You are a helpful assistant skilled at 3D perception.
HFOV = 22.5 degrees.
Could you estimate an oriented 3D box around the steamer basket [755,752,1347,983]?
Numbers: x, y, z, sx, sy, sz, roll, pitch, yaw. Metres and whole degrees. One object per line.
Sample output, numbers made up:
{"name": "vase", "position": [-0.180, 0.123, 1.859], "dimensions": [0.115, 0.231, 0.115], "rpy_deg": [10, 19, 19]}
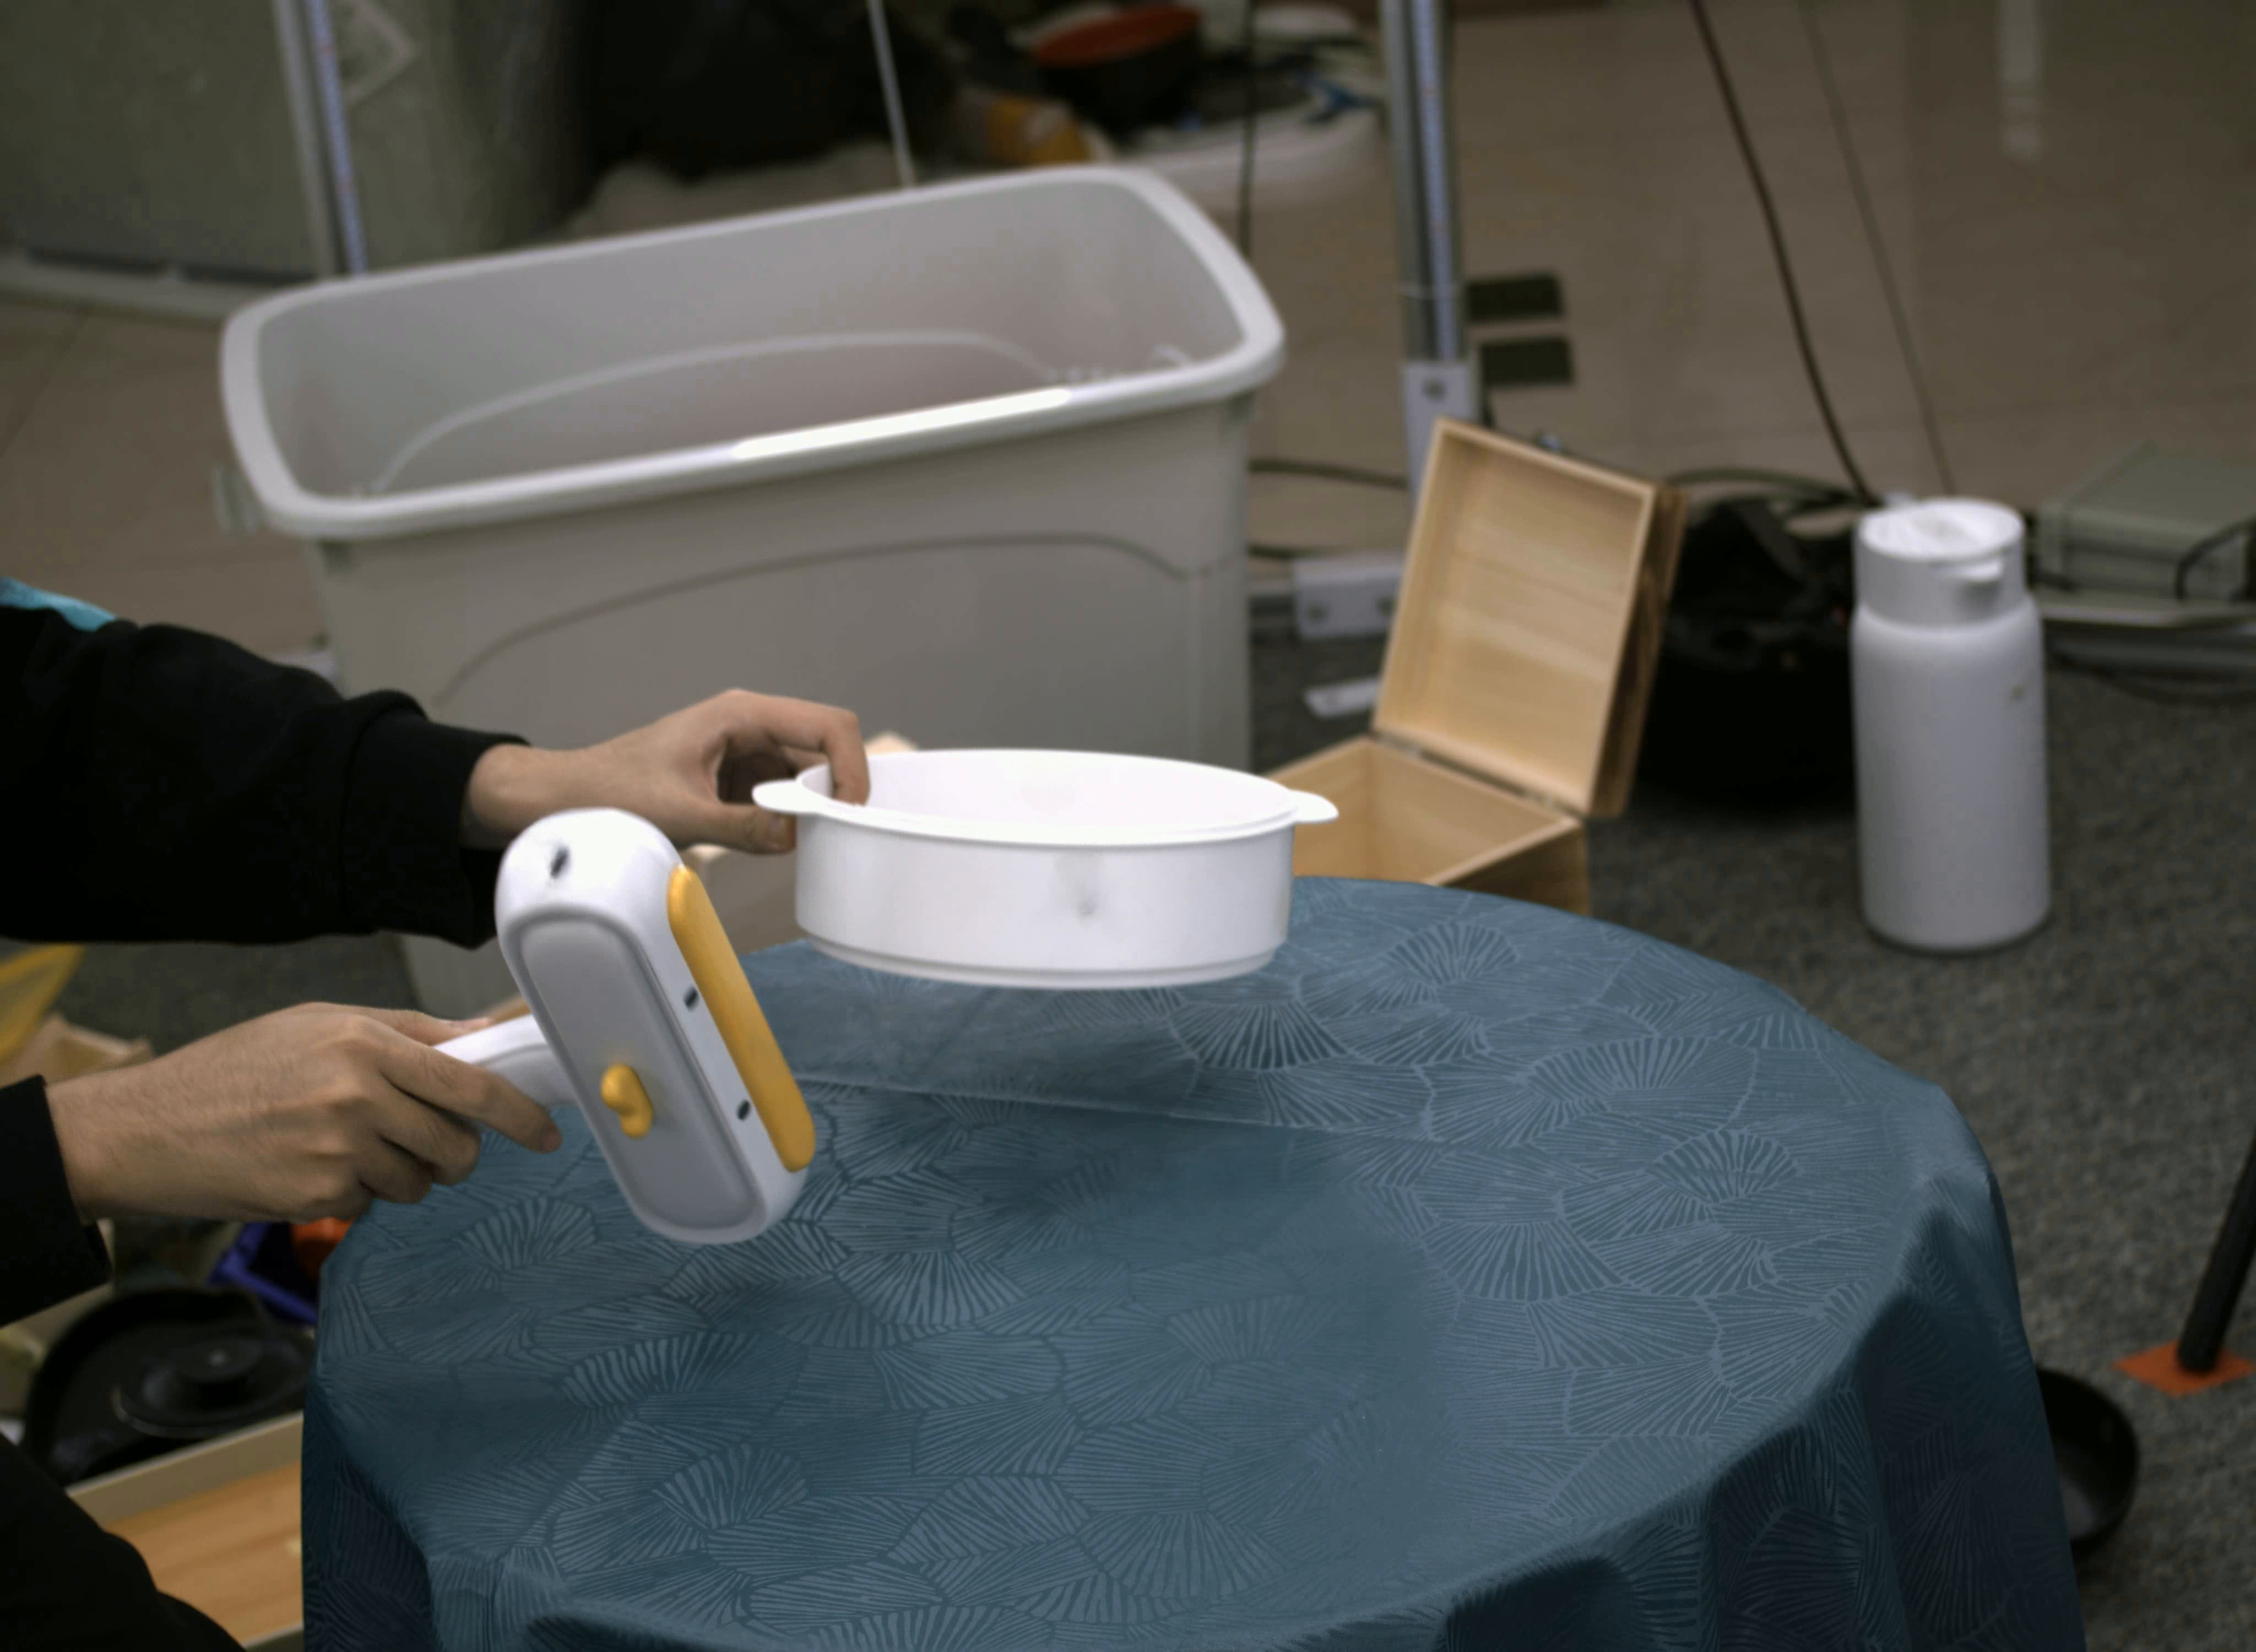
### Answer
{"name": "steamer basket", "position": [-0.030, 0.016, 2.206], "dimensions": [0.230, 0.070, 0.200], "rpy_deg": [-1, 8, -7]}

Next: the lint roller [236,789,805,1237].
{"name": "lint roller", "position": [-0.231, 0.087, 2.045], "dimensions": [0.192, 0.196, 0.073], "rpy_deg": [-14, 41, 15]}
